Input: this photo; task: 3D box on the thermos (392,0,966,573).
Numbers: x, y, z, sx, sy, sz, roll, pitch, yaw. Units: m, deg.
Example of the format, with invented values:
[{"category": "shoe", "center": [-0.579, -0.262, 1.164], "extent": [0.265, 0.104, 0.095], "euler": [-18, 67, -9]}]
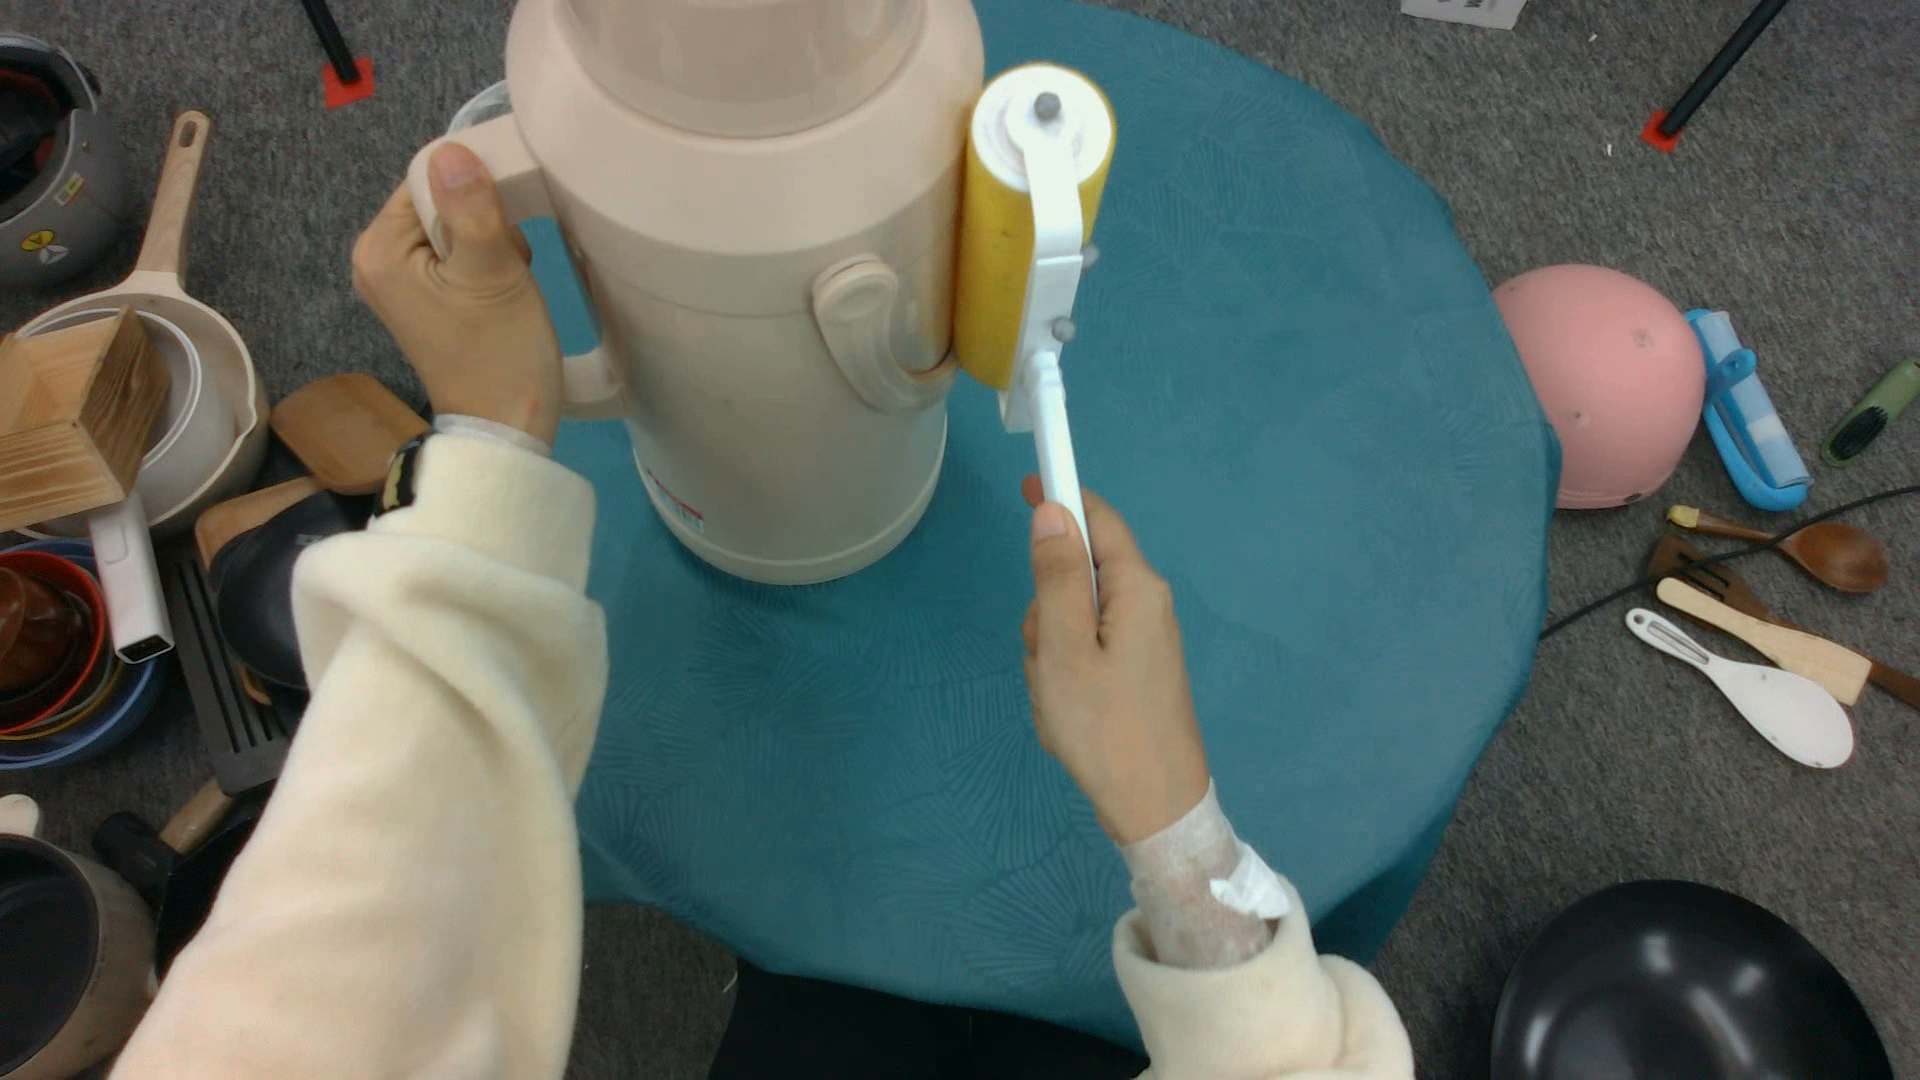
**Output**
[{"category": "thermos", "center": [-0.095, -0.125, 0.543], "extent": [0.207, 0.405, 0.175], "euler": [-24, 72, -13]}]

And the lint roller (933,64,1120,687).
[{"category": "lint roller", "center": [0.037, -0.045, 0.498], "extent": [0.051, 0.174, 0.192], "euler": [-19, 77, -7]}]
